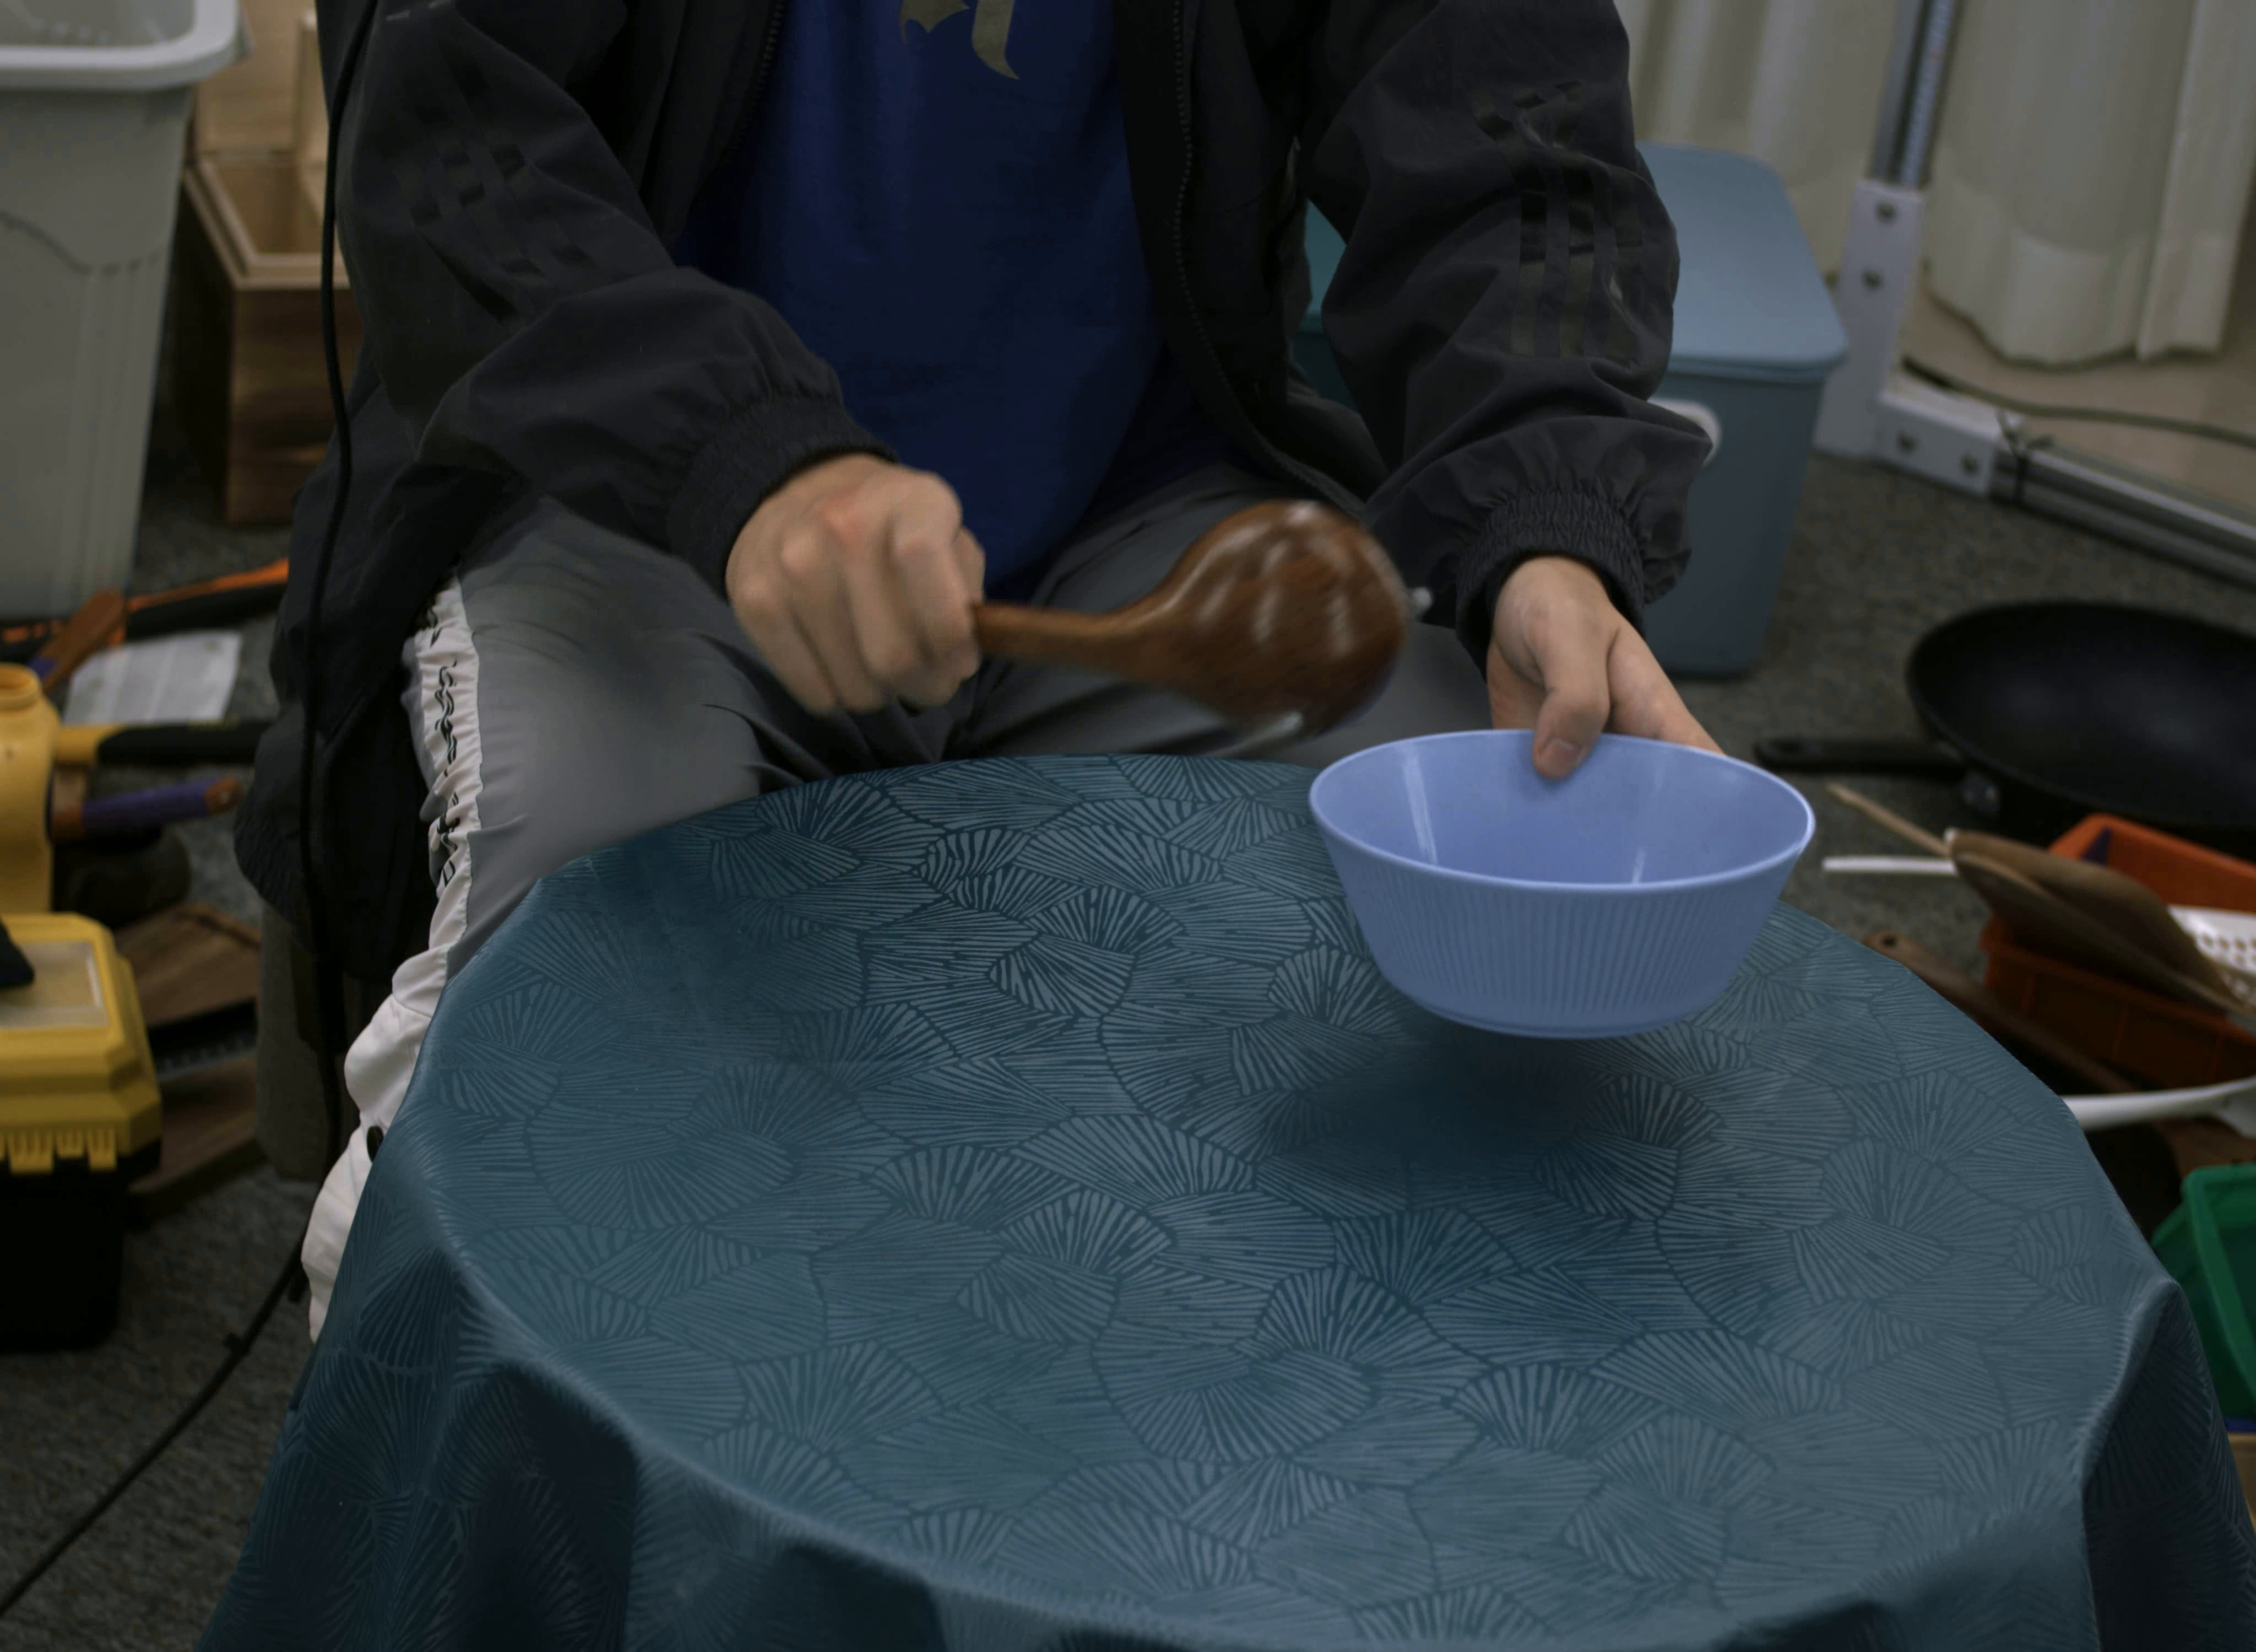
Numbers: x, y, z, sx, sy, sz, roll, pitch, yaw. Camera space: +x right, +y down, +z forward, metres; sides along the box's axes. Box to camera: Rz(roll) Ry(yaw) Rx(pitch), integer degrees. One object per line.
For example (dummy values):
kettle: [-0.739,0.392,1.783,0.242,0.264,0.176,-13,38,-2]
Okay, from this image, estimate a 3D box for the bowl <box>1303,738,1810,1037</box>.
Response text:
bowl: [0.147,0.024,1.852,0.175,0.070,0.177,2,17,-1]

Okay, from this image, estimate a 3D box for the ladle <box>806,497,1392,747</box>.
ladle: [-0.012,-0.070,1.828,0.076,0.082,0.275,-12,9,-32]
